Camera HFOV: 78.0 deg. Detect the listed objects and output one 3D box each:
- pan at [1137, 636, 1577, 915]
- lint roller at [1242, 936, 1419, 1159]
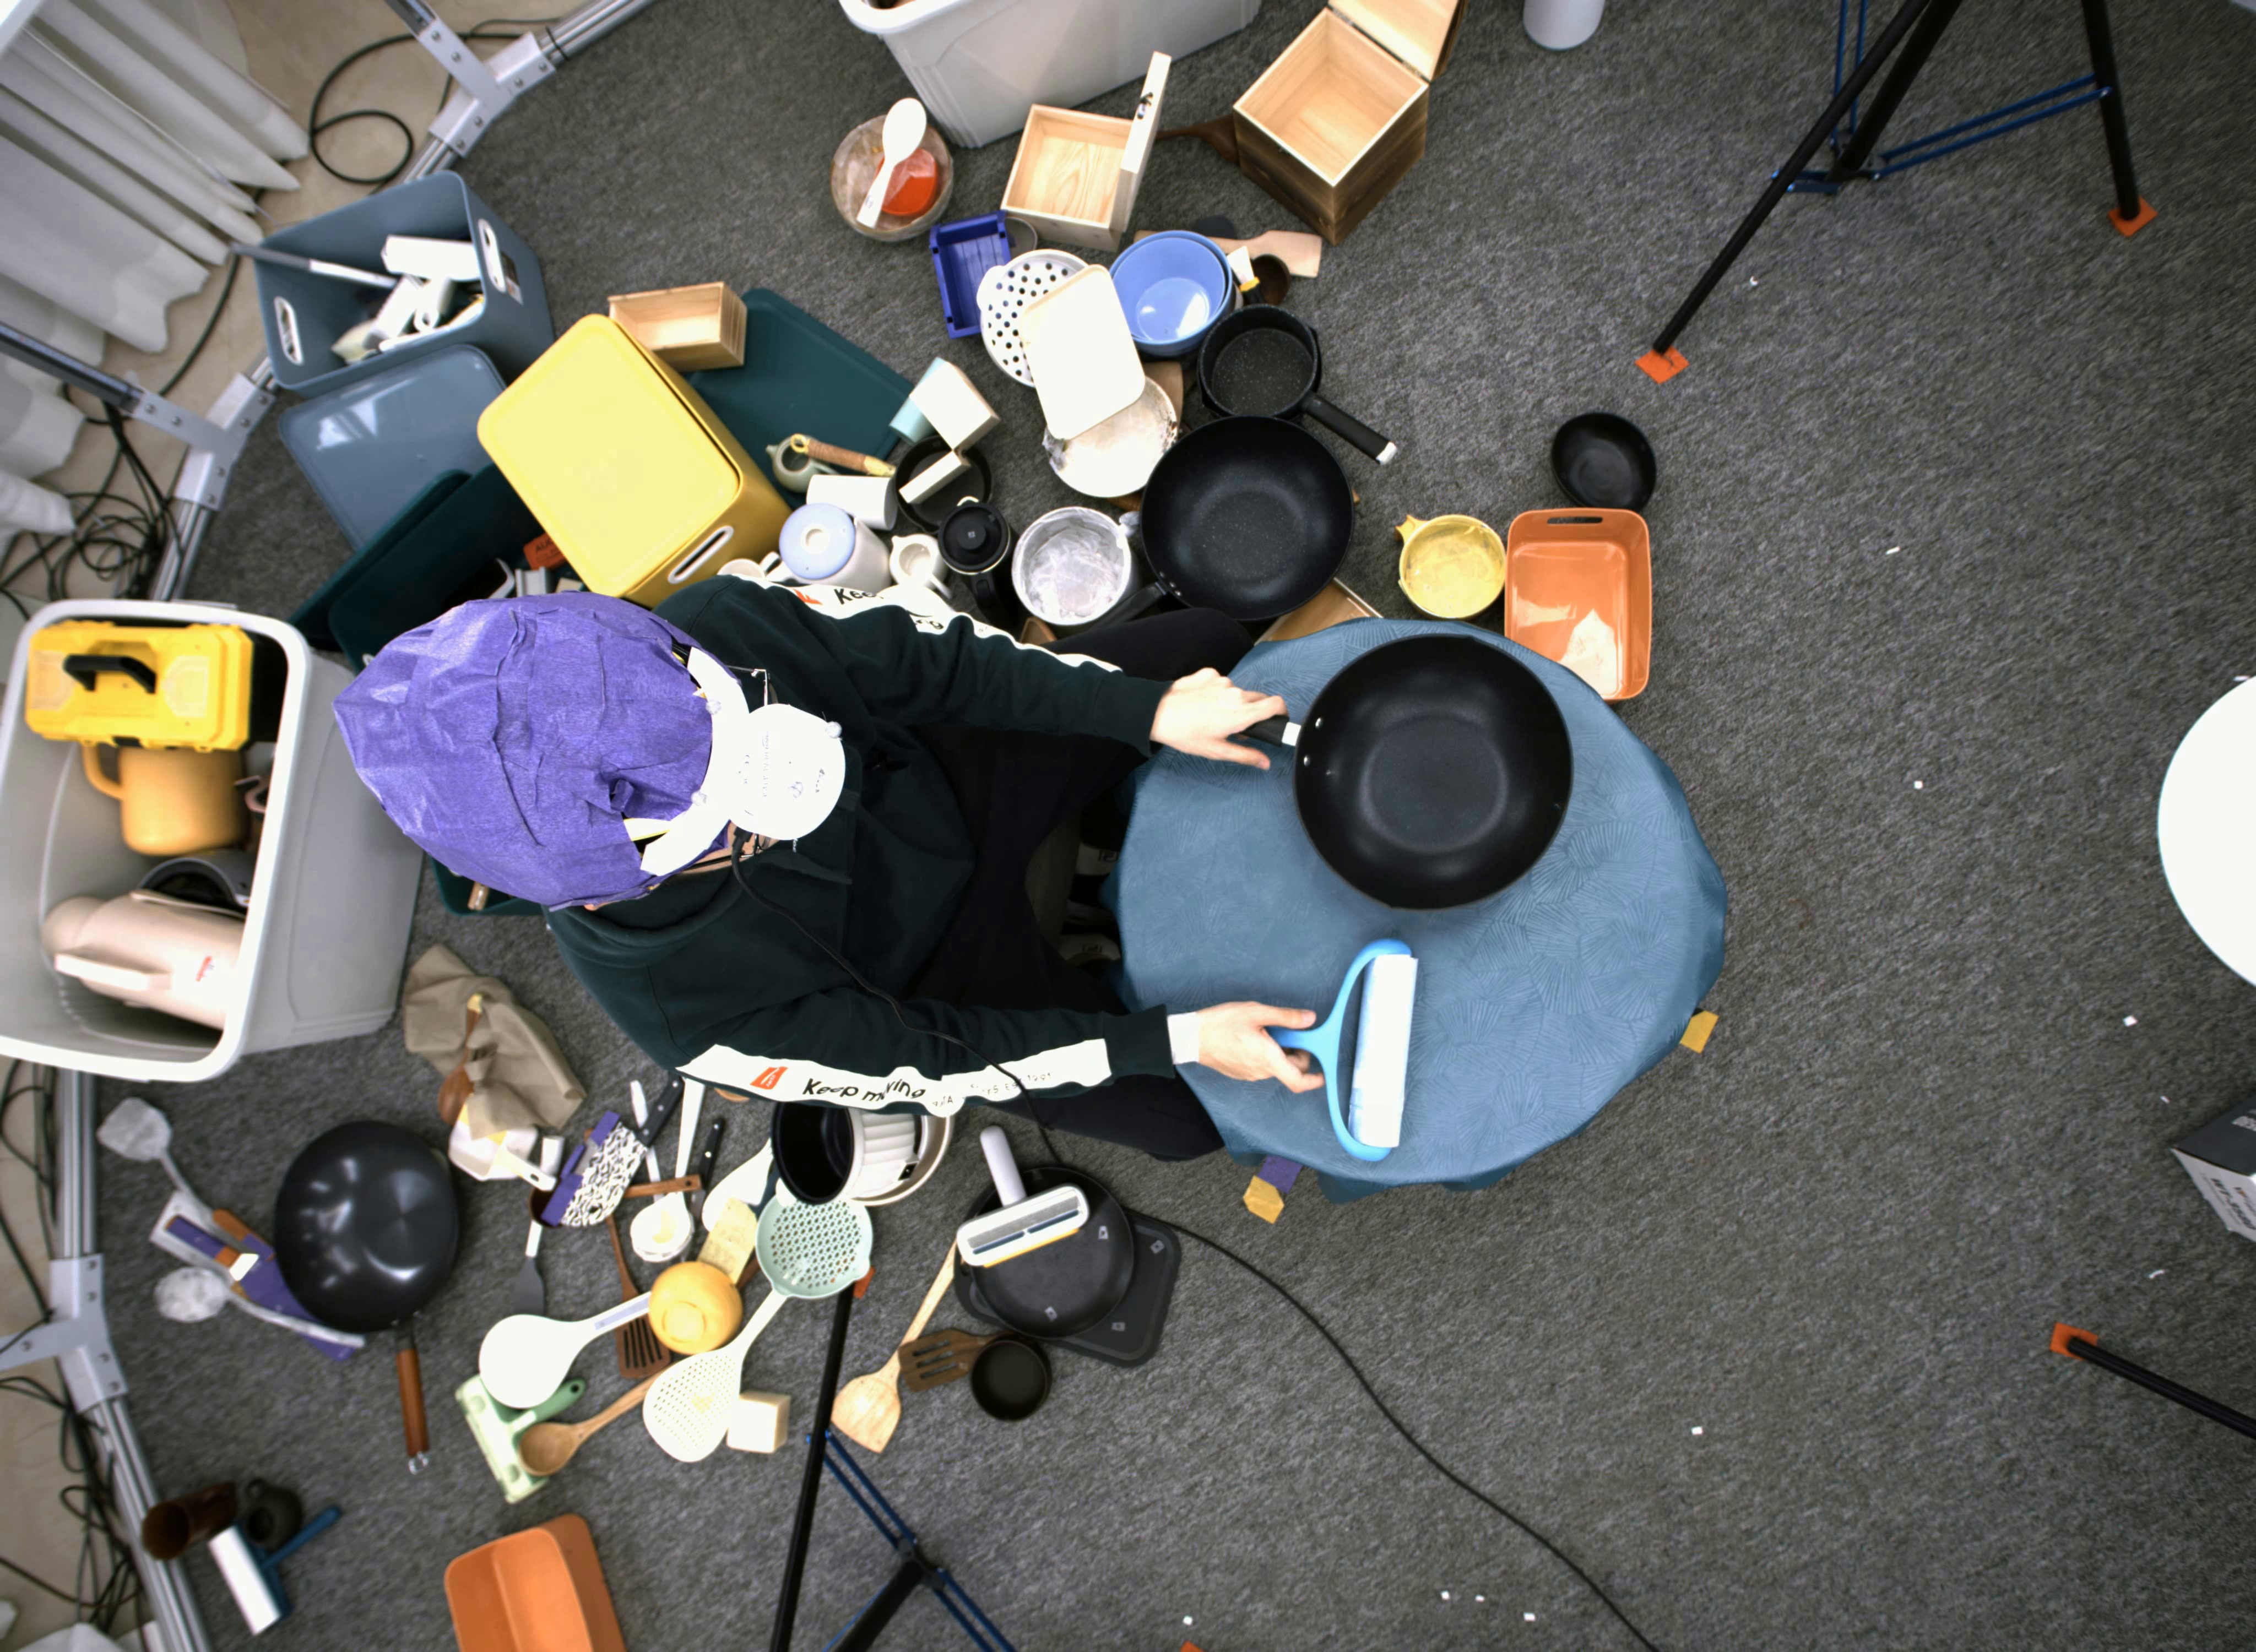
[{"bbox_3d":[0.229,-0.076,1.432,0.463,0.087,0.288,18,90,17],"label":"pan"},{"bbox_3d":[0.206,0.224,1.431,0.181,0.068,0.228,2,90,9],"label":"lint roller"}]
